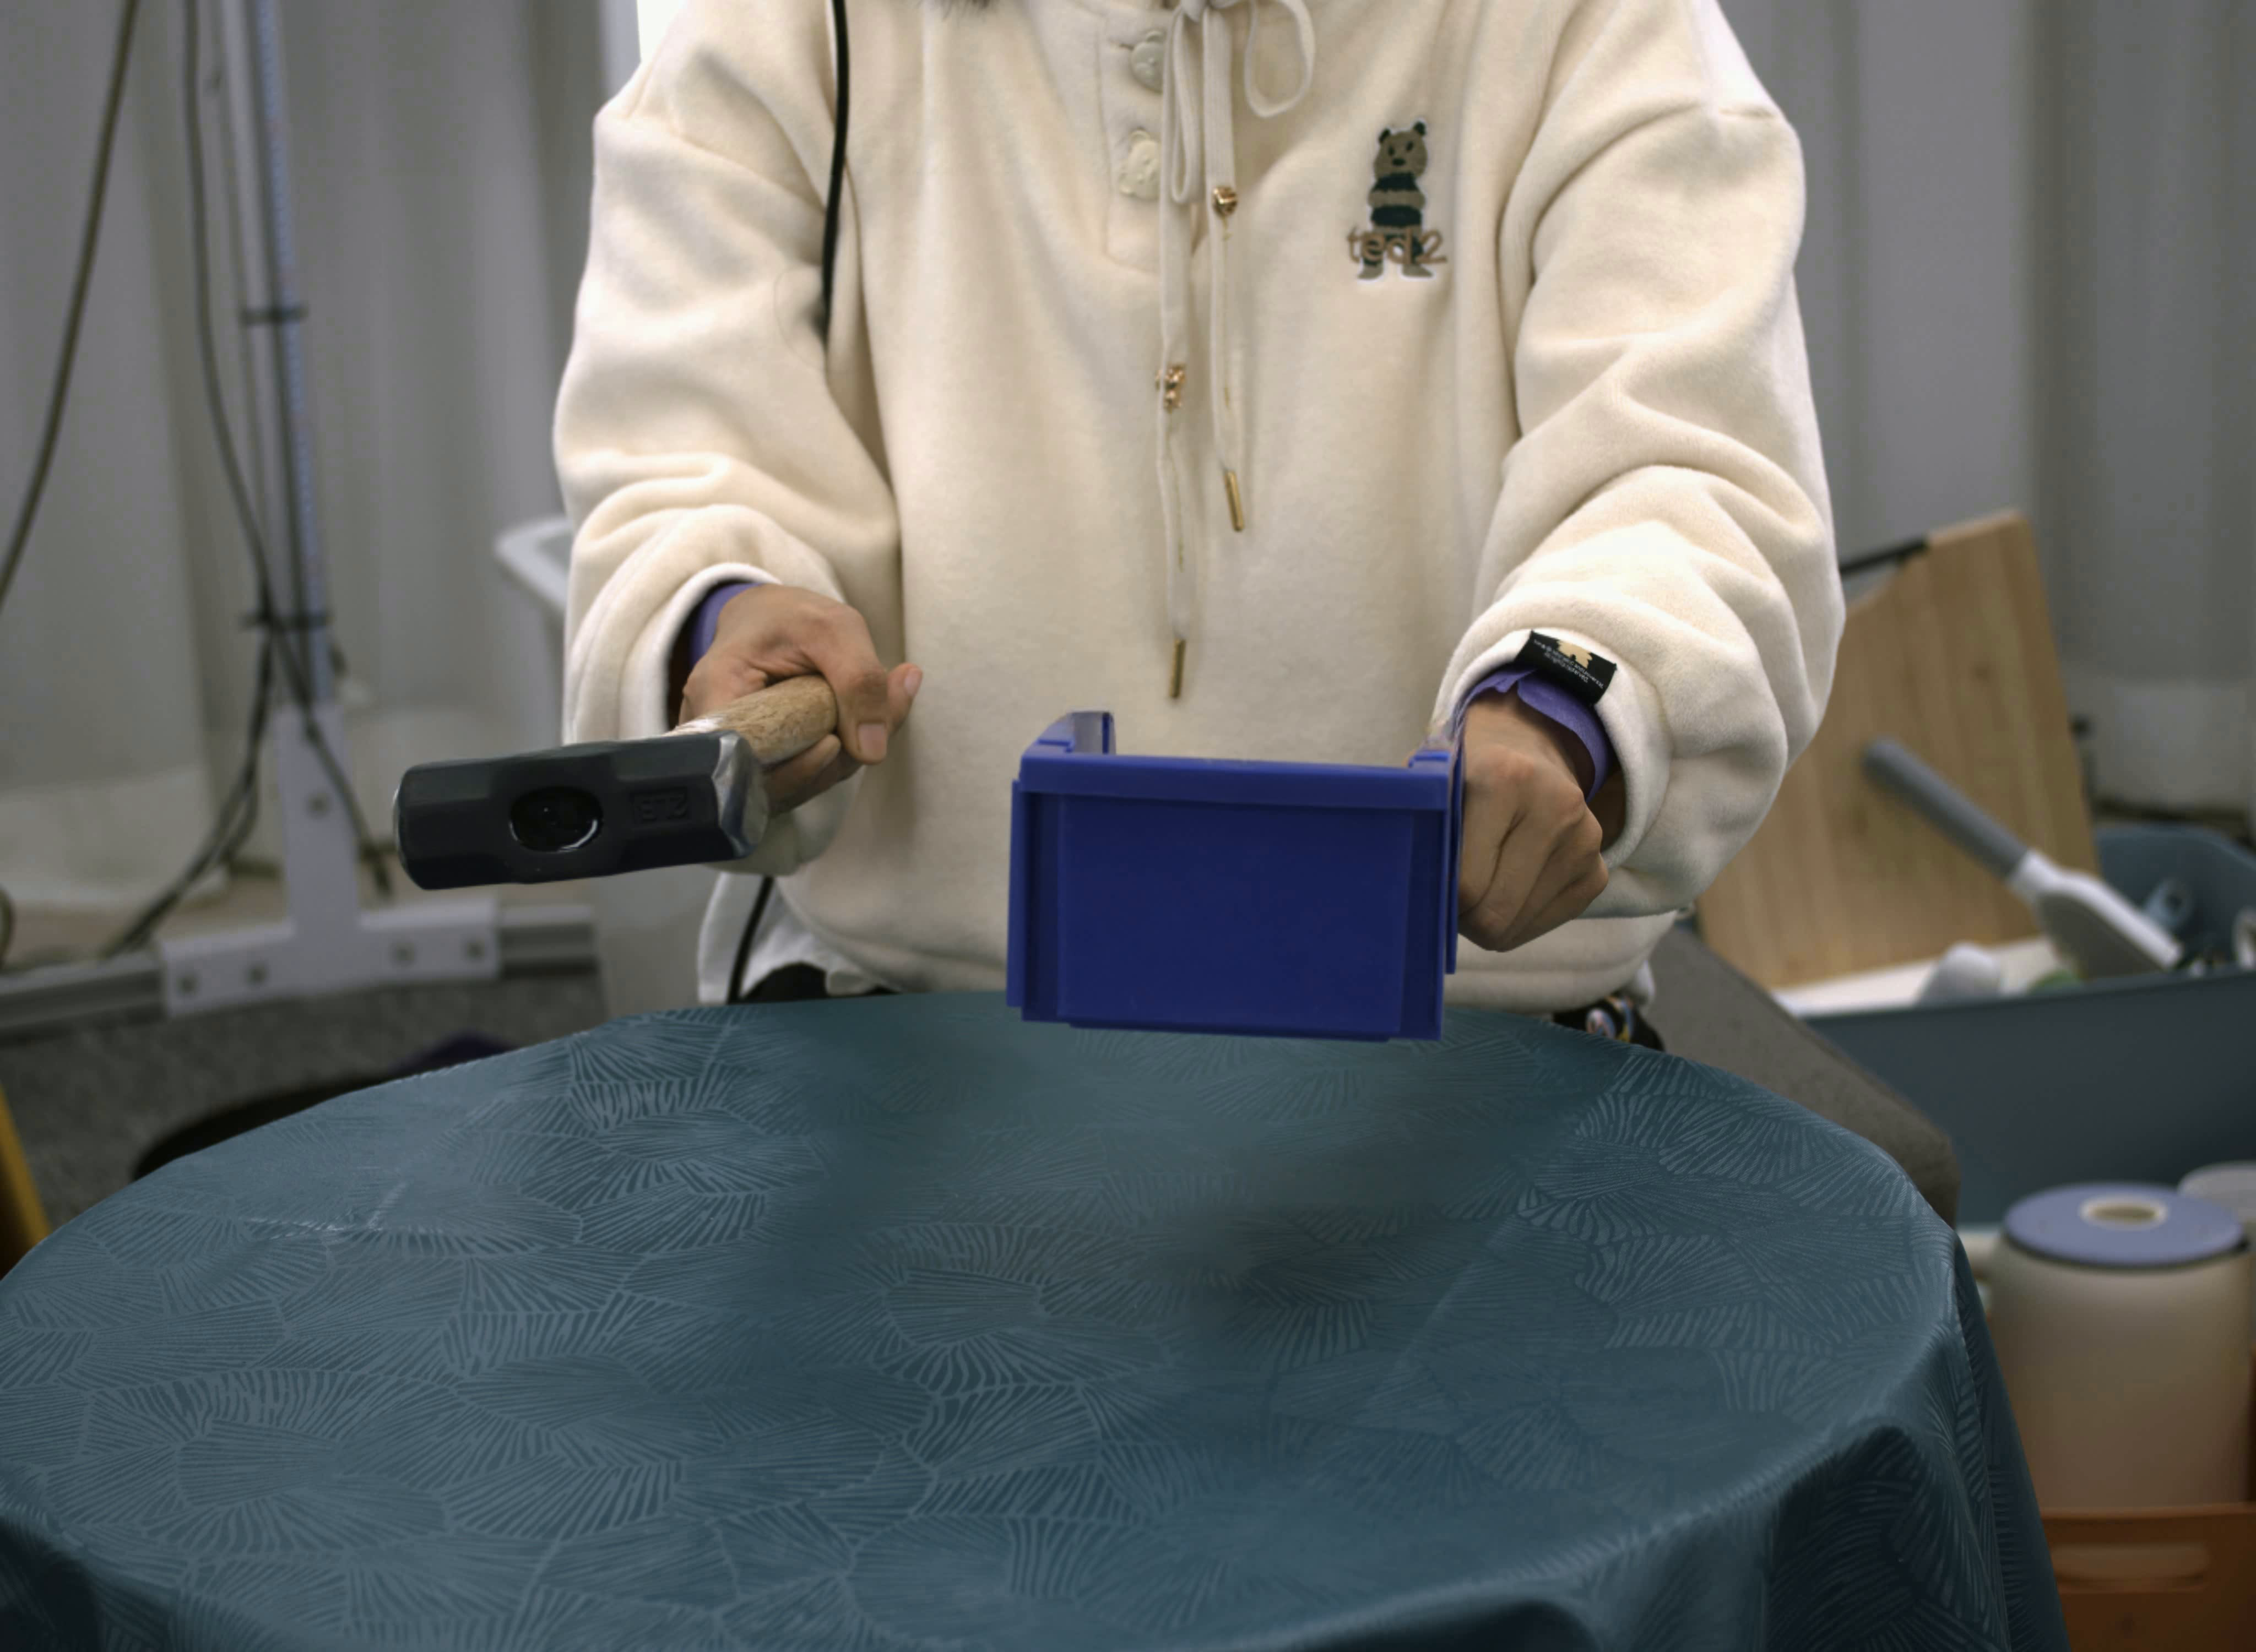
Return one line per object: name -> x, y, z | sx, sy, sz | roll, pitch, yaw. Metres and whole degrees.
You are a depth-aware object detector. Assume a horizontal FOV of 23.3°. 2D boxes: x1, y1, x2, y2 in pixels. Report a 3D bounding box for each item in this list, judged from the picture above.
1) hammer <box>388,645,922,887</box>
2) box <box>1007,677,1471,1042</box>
hammer -> -0.127, -0.025, 1.736 | 0.107, 0.038, 0.305 | -6, 7, 16
box -> 0.036, 0.006, 1.620 | 0.124, 0.082, 0.180 | 3, 11, 6
